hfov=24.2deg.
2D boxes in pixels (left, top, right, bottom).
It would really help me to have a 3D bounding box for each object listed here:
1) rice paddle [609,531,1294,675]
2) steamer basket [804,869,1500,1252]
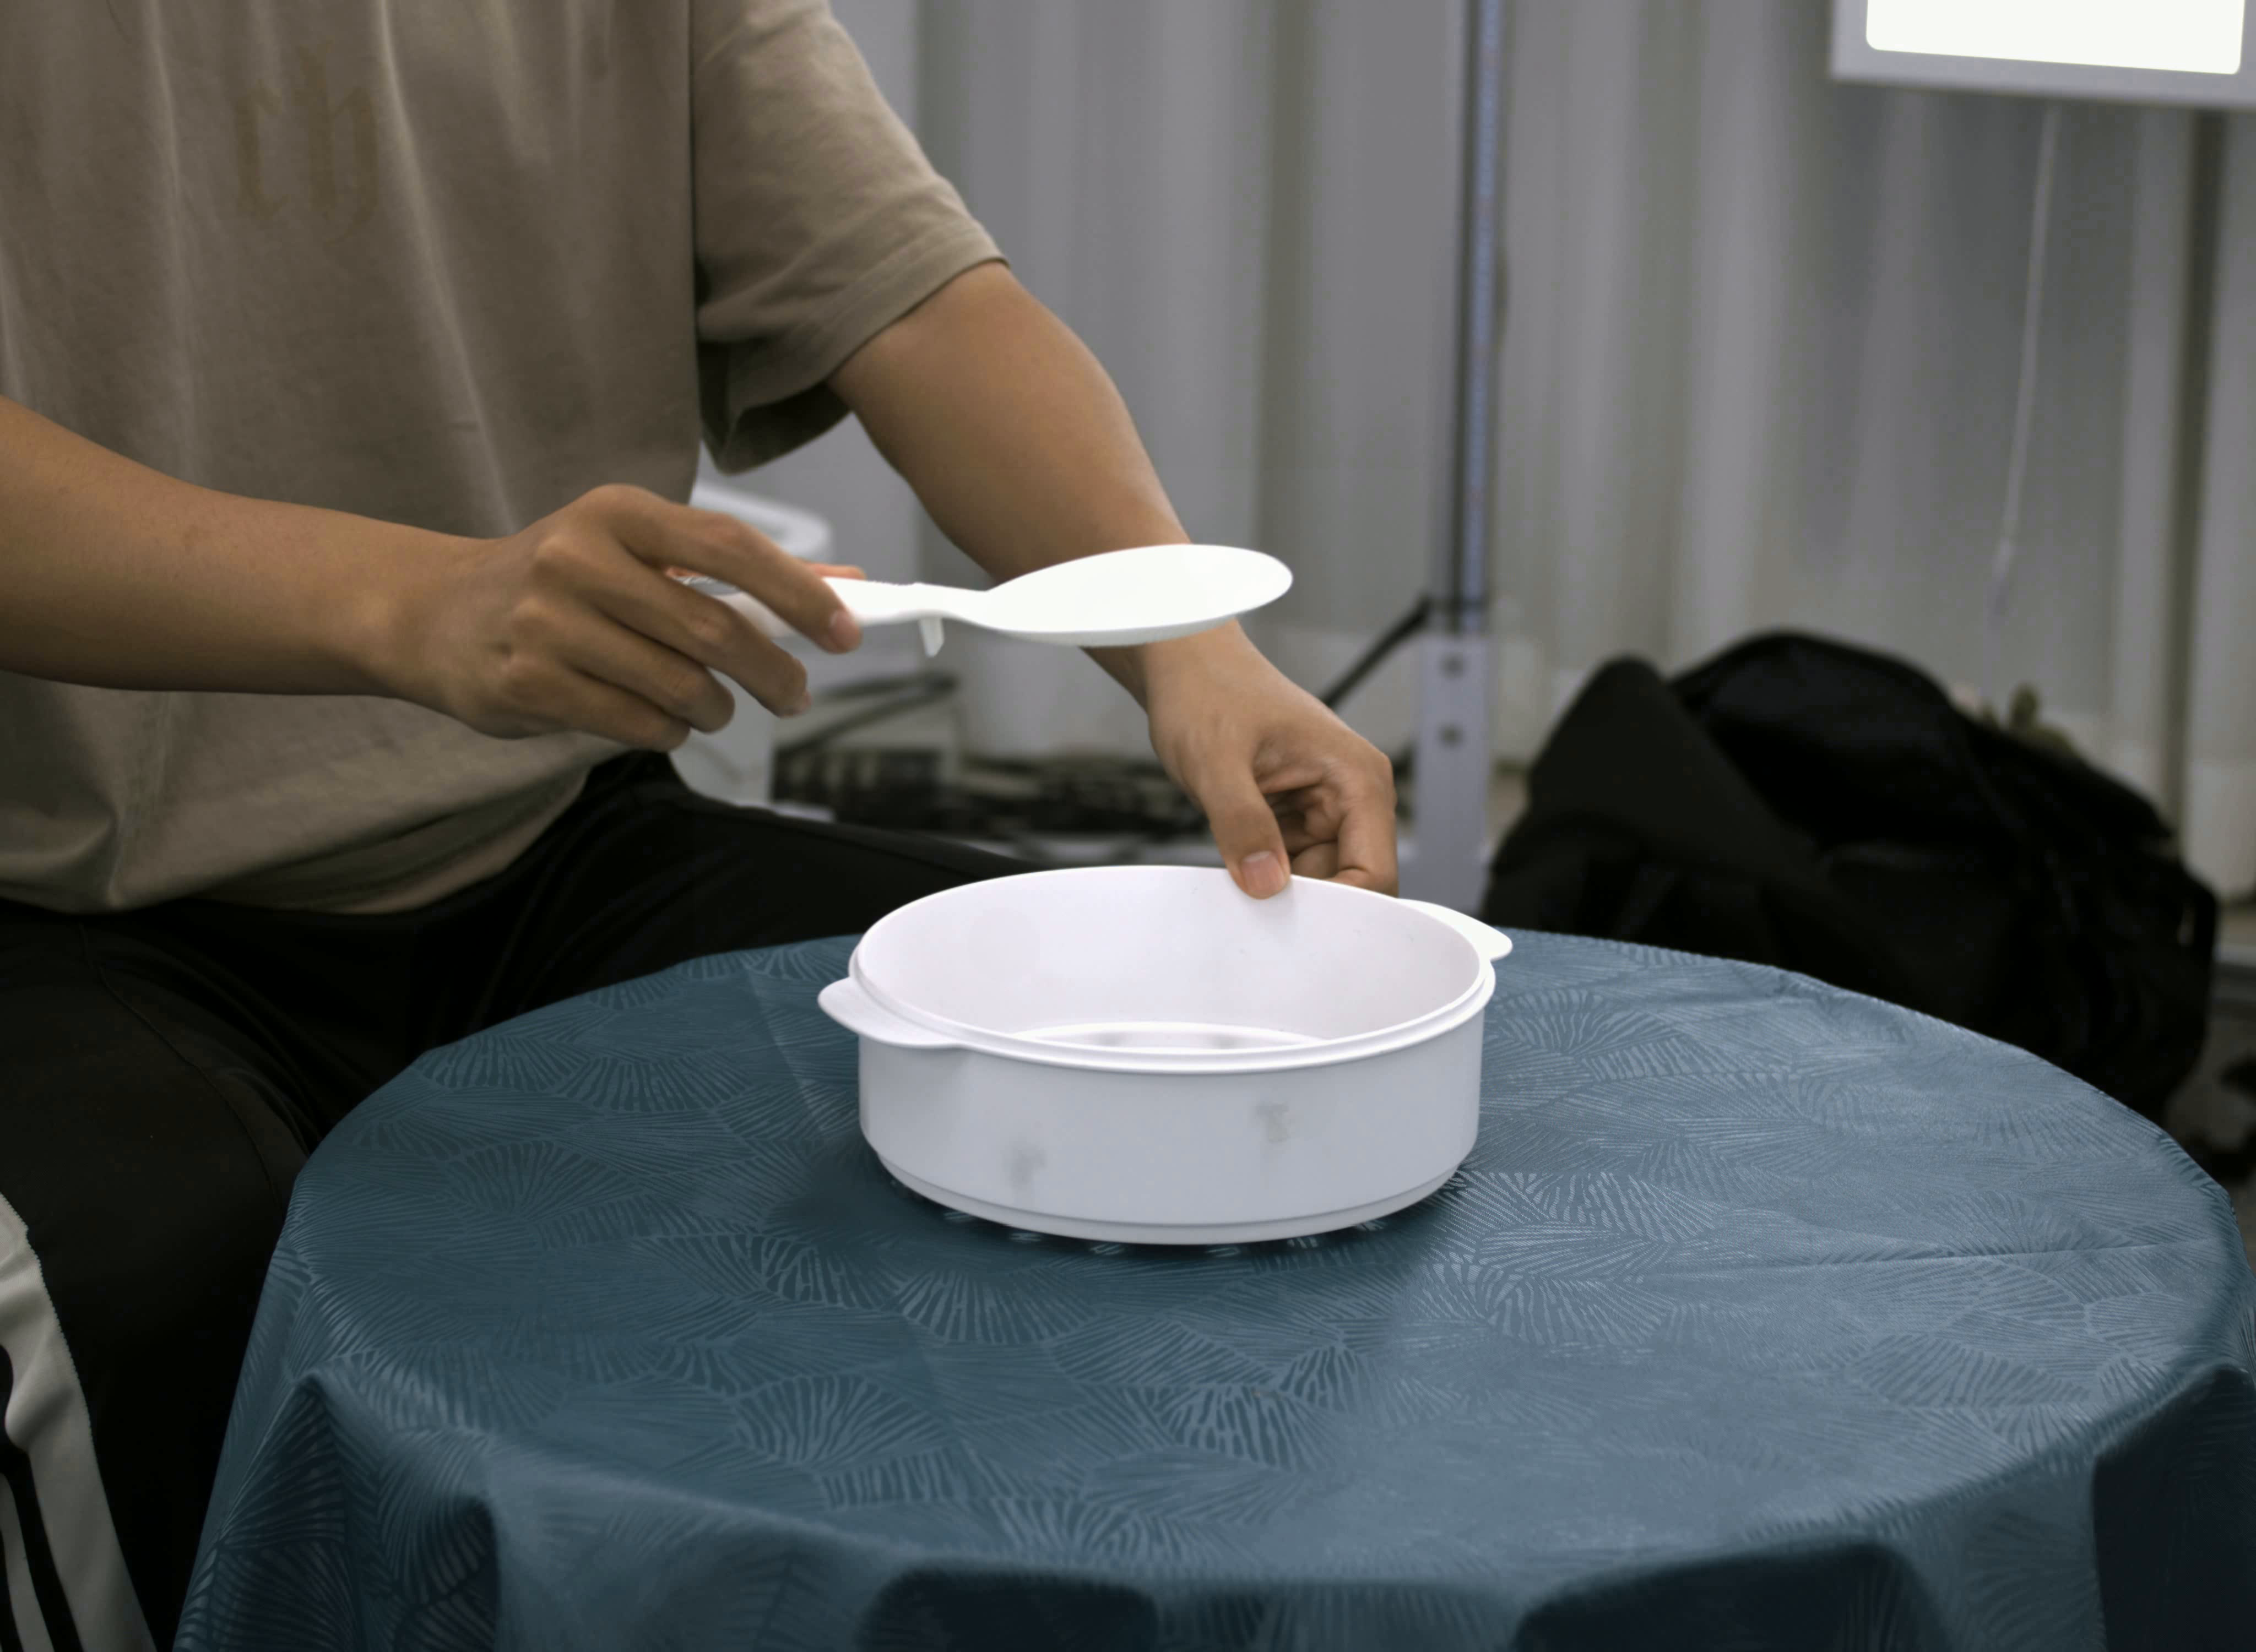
[{"bbox_3d":[-0.052,-0.069,1.547,0.204,0.030,0.068,-4,23,12],"label":"rice paddle"},{"bbox_3d":[0.008,0.073,1.643,0.231,0.070,0.199,-6,18,-29],"label":"steamer basket"}]
